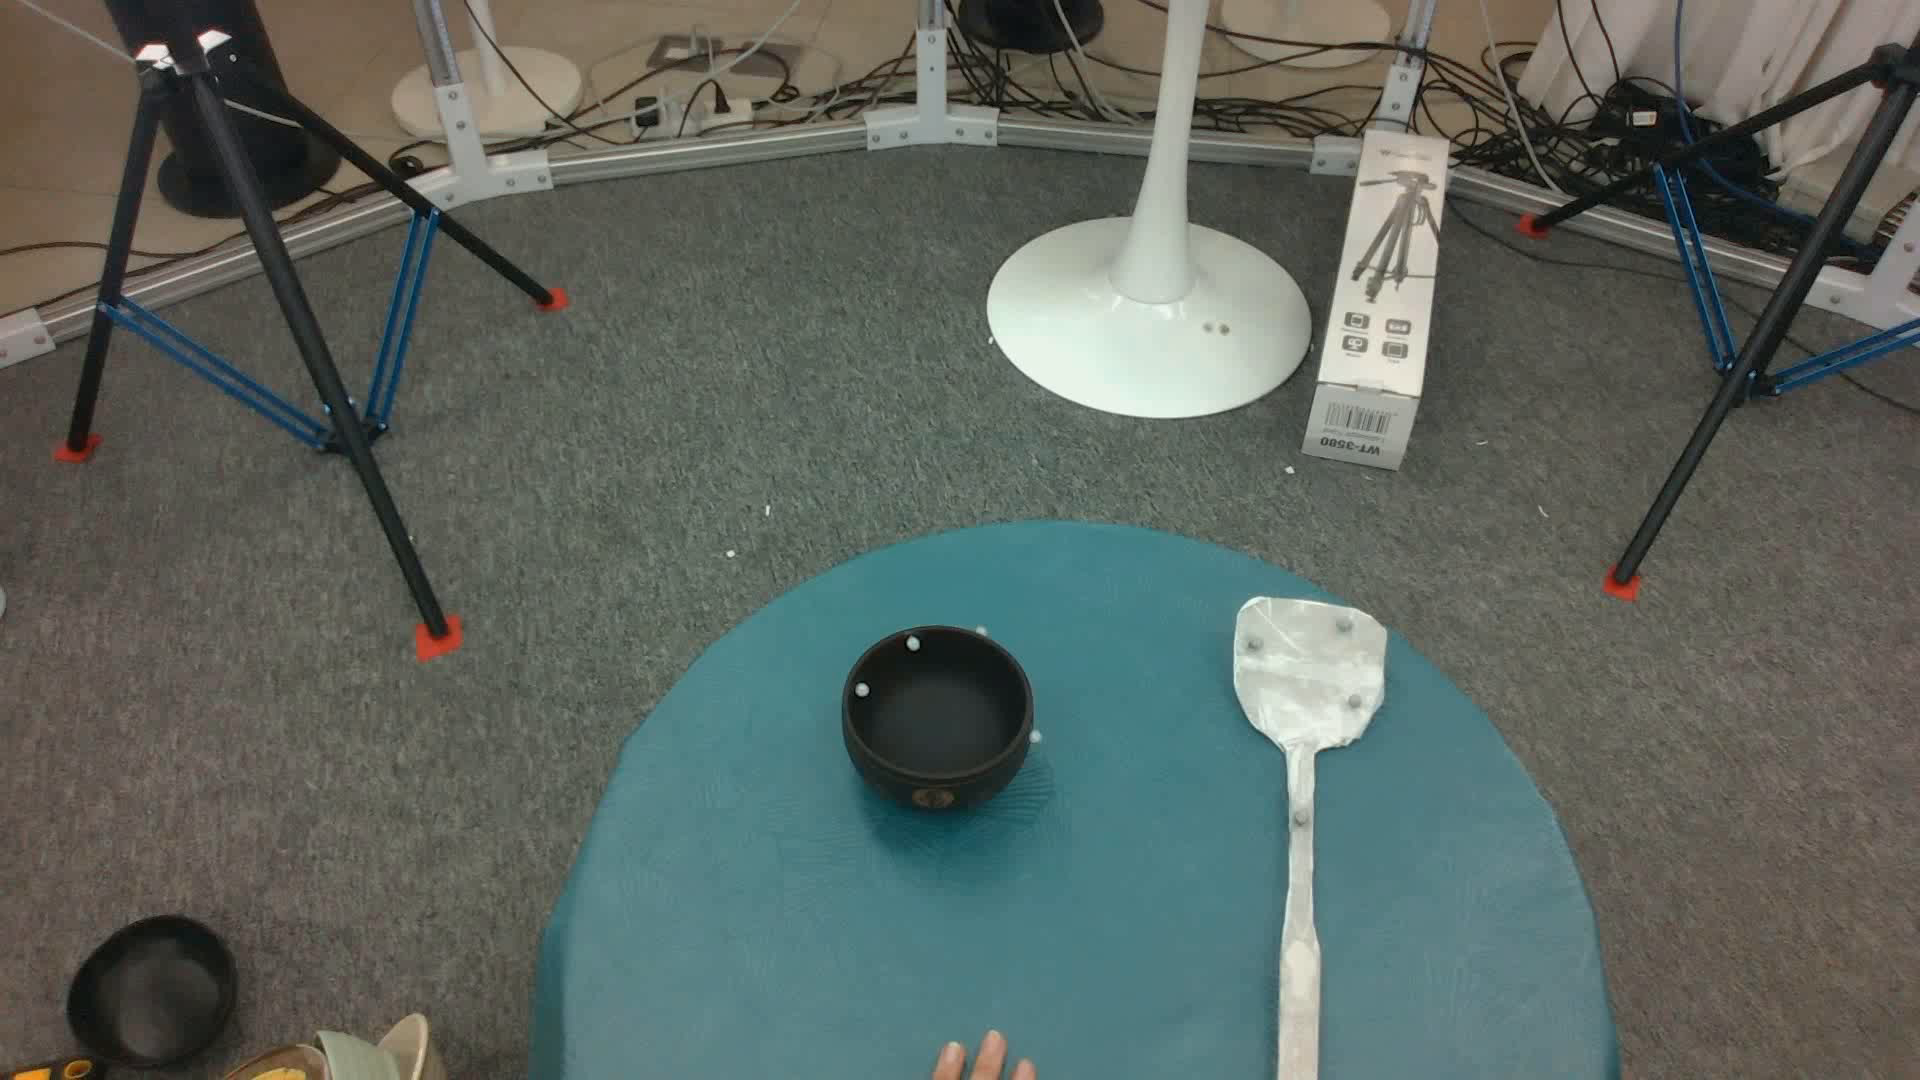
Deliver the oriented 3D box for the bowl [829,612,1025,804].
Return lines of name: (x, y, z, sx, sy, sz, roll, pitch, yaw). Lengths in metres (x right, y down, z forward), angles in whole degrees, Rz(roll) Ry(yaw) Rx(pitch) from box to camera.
bowl: (-0.020, 0.109, 0.842, 0.118, 0.069, 0.118, 0, 48, 0)

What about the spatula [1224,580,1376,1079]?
spatula: (0.192, 0.174, 0.813, 0.098, 0.044, 0.367, 11, 47, 5)
